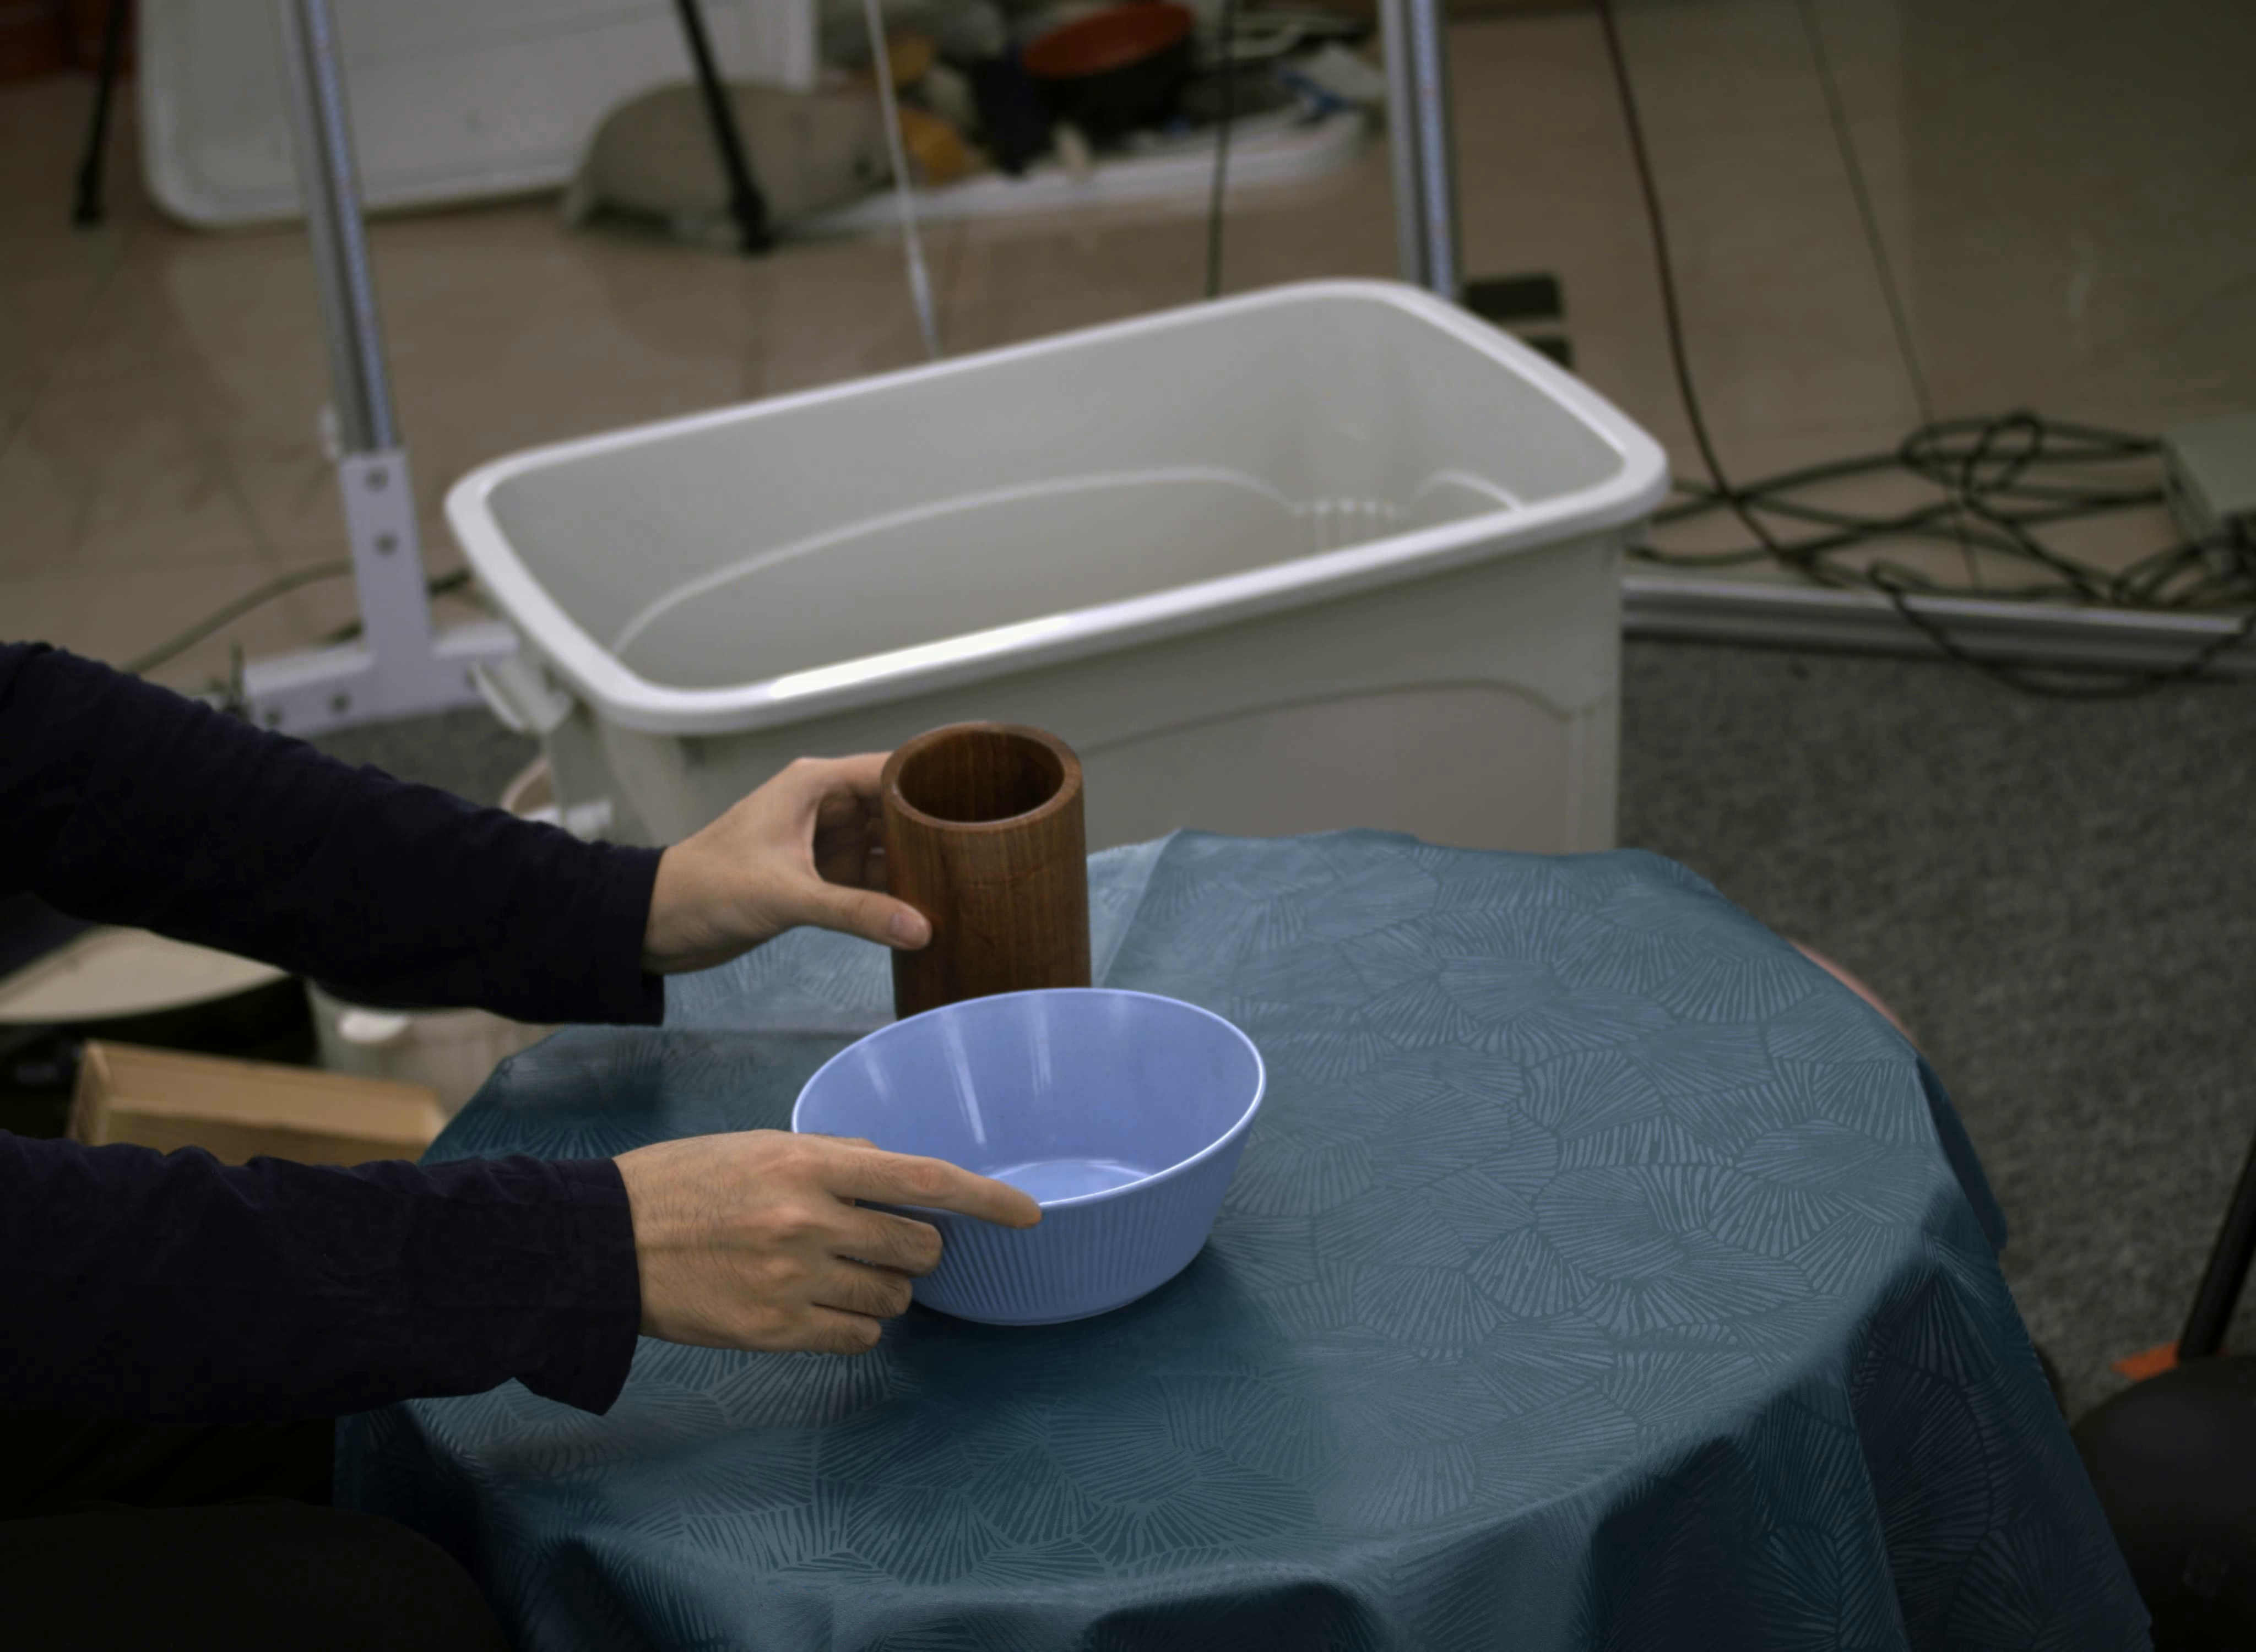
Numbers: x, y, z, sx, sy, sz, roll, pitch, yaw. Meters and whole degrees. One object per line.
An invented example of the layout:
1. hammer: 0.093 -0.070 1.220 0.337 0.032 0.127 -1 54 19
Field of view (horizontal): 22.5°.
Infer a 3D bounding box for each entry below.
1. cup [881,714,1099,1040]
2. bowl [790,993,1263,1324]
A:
1. cup: -0.053 0.027 2.221 0.087 0.120 0.086 -3 33 2
2. bowl: -0.034 0.128 2.094 0.176 0.071 0.173 -6 24 3
